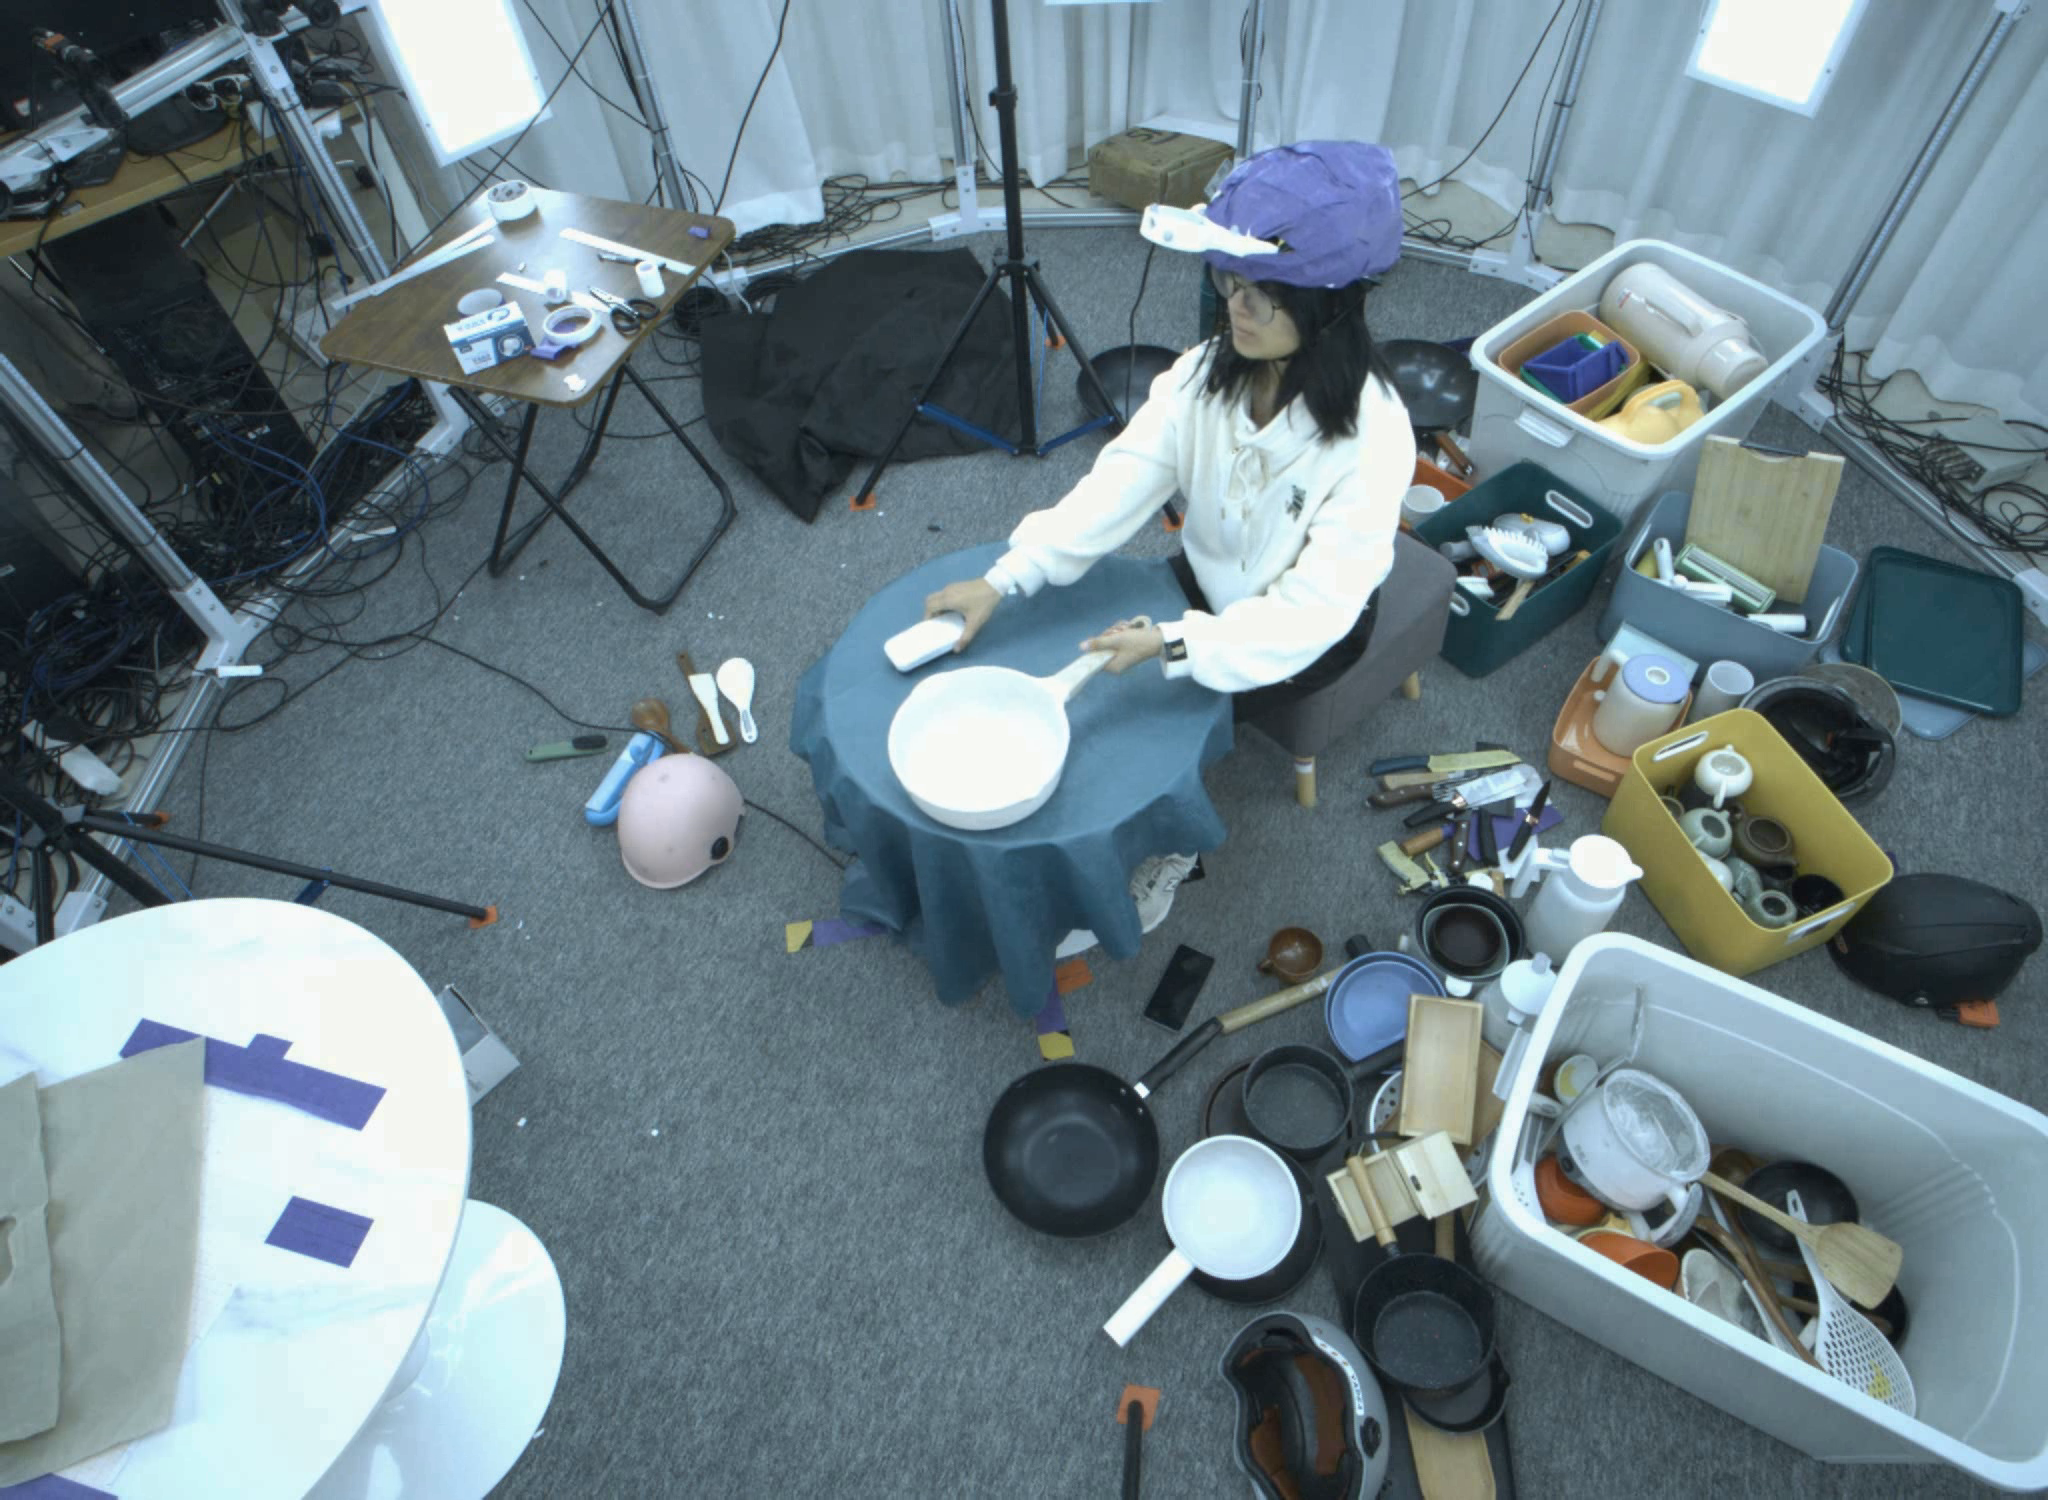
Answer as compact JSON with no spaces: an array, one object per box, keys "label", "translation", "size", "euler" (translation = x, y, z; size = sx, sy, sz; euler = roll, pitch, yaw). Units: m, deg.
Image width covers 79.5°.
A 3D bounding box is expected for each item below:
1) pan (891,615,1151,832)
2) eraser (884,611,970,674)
[{"label":"pan","translation":[0.015,-0.047,1.758],"size":[0.438,0.103,0.258],"euler":[-34,59,-19]},{"label":"eraser","translation":[-0.149,-0.166,1.891],"size":[0.132,0.035,0.062],"euler":[-28,60,-16]}]
